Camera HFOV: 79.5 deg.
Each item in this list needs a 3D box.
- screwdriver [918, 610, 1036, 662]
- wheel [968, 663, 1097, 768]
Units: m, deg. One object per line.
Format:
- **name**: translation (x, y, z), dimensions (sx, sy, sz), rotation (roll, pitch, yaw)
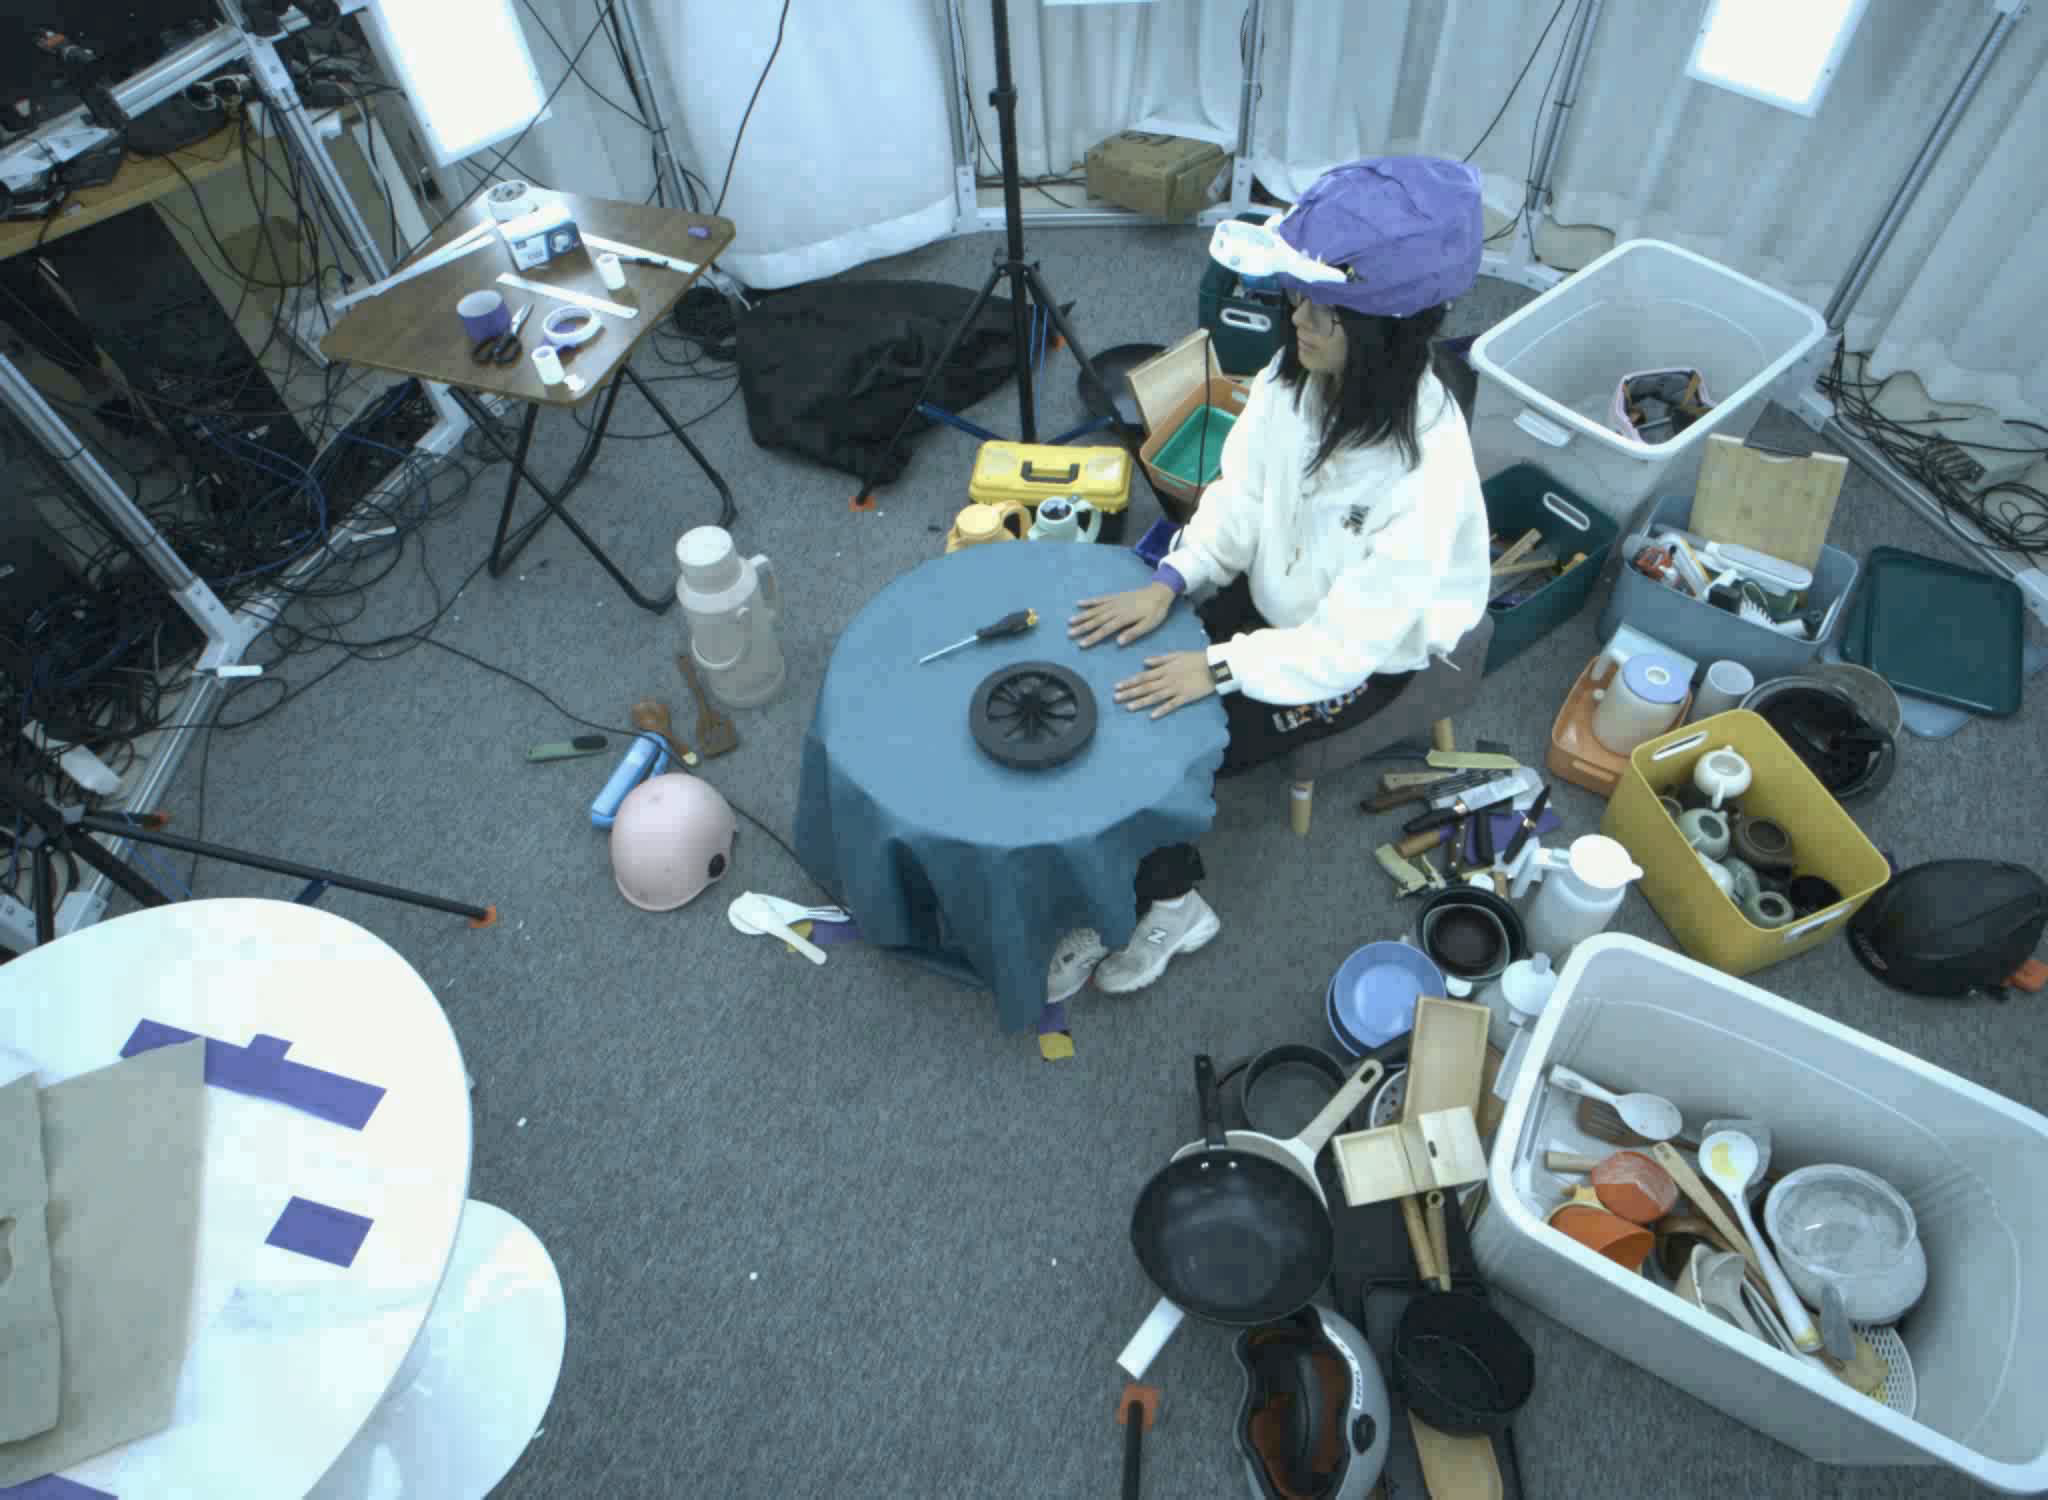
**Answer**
- **screwdriver**: translation (-0.072, -0.171, 1.896), dimensions (0.197, 0.032, 0.031), rotation (-24, 57, -12)
- **wheel**: translation (0.010, -0.066, 1.788), dimensions (0.187, 0.080, 0.188), rotation (21, 58, 19)
